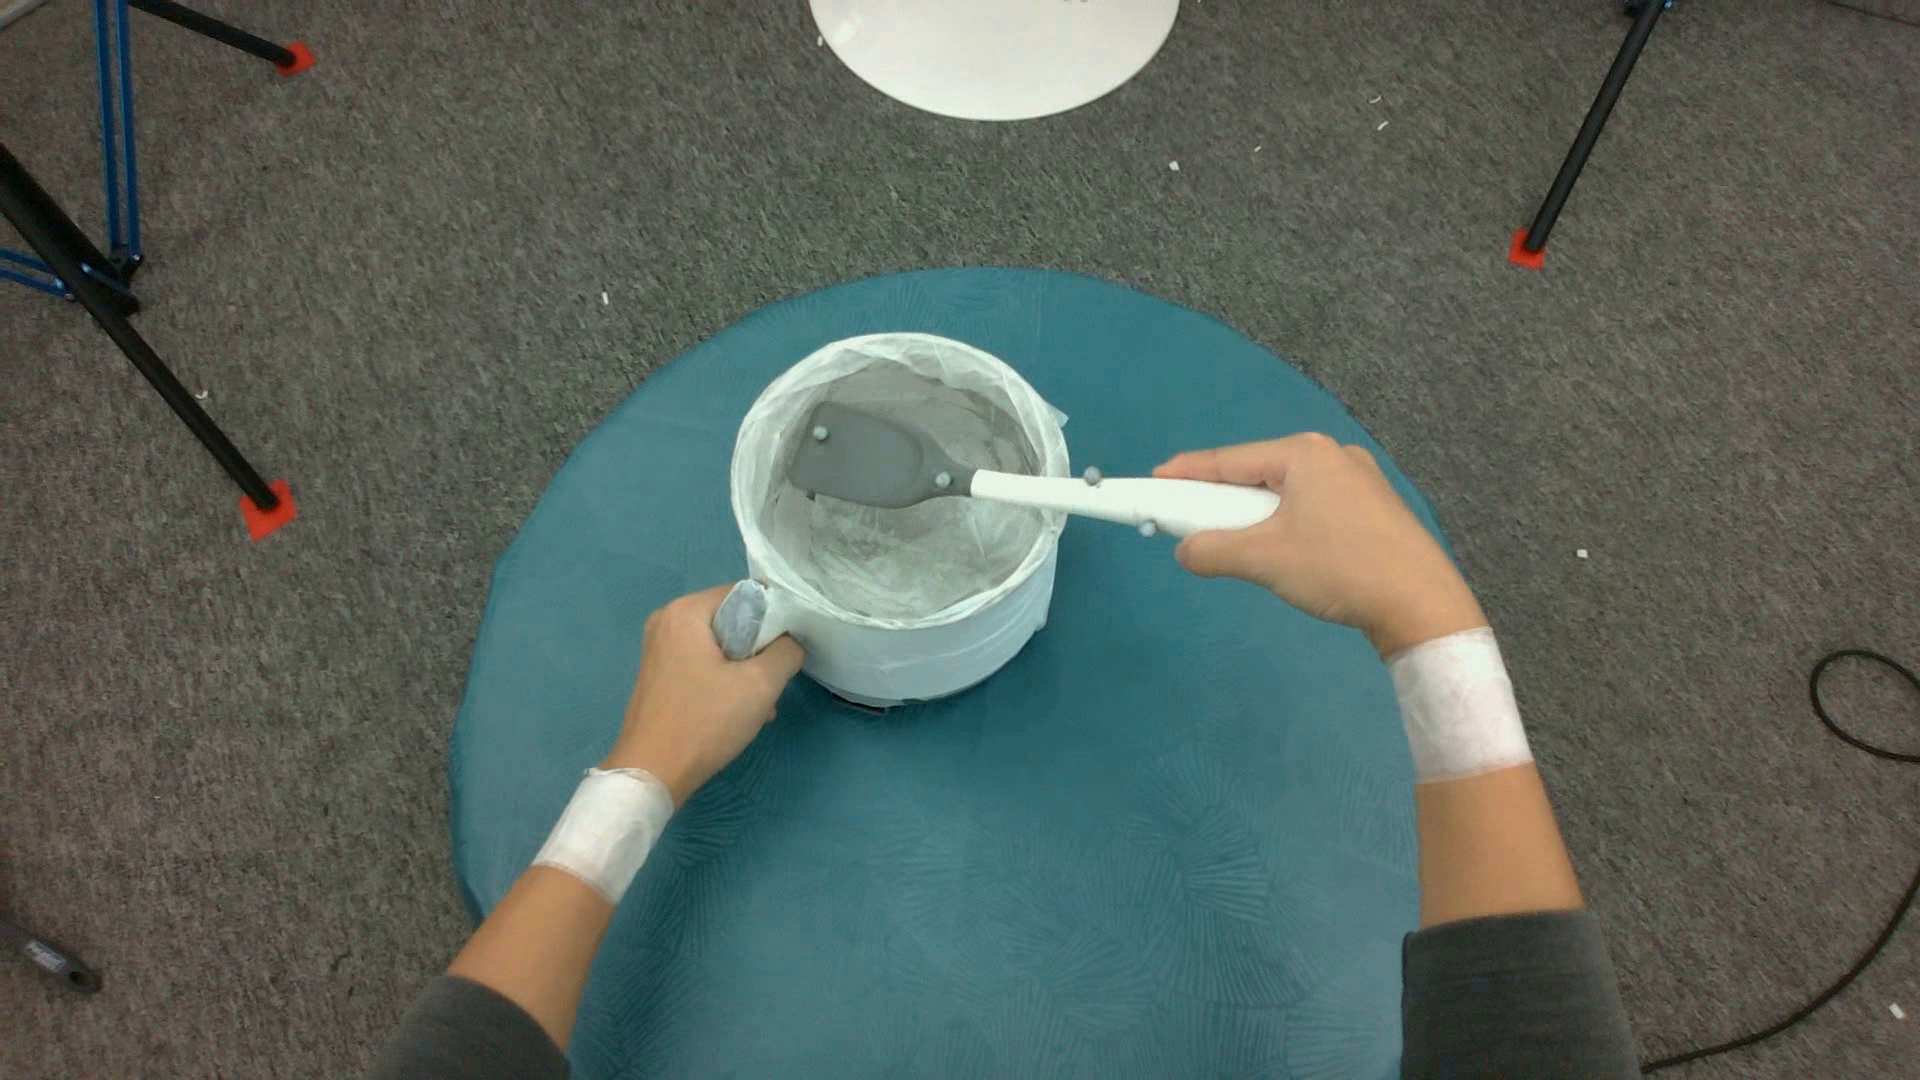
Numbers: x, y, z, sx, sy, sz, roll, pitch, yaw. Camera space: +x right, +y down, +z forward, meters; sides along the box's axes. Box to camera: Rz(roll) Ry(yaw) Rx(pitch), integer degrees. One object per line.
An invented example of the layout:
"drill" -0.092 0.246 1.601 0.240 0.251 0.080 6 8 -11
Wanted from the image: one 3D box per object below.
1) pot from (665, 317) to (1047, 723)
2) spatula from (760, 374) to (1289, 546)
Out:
"pot" -0.065 0.003 0.756 0.179 0.136 0.234 41 67 17
"spatula" 0.021 -0.038 0.688 0.287 0.032 0.059 12 79 30
